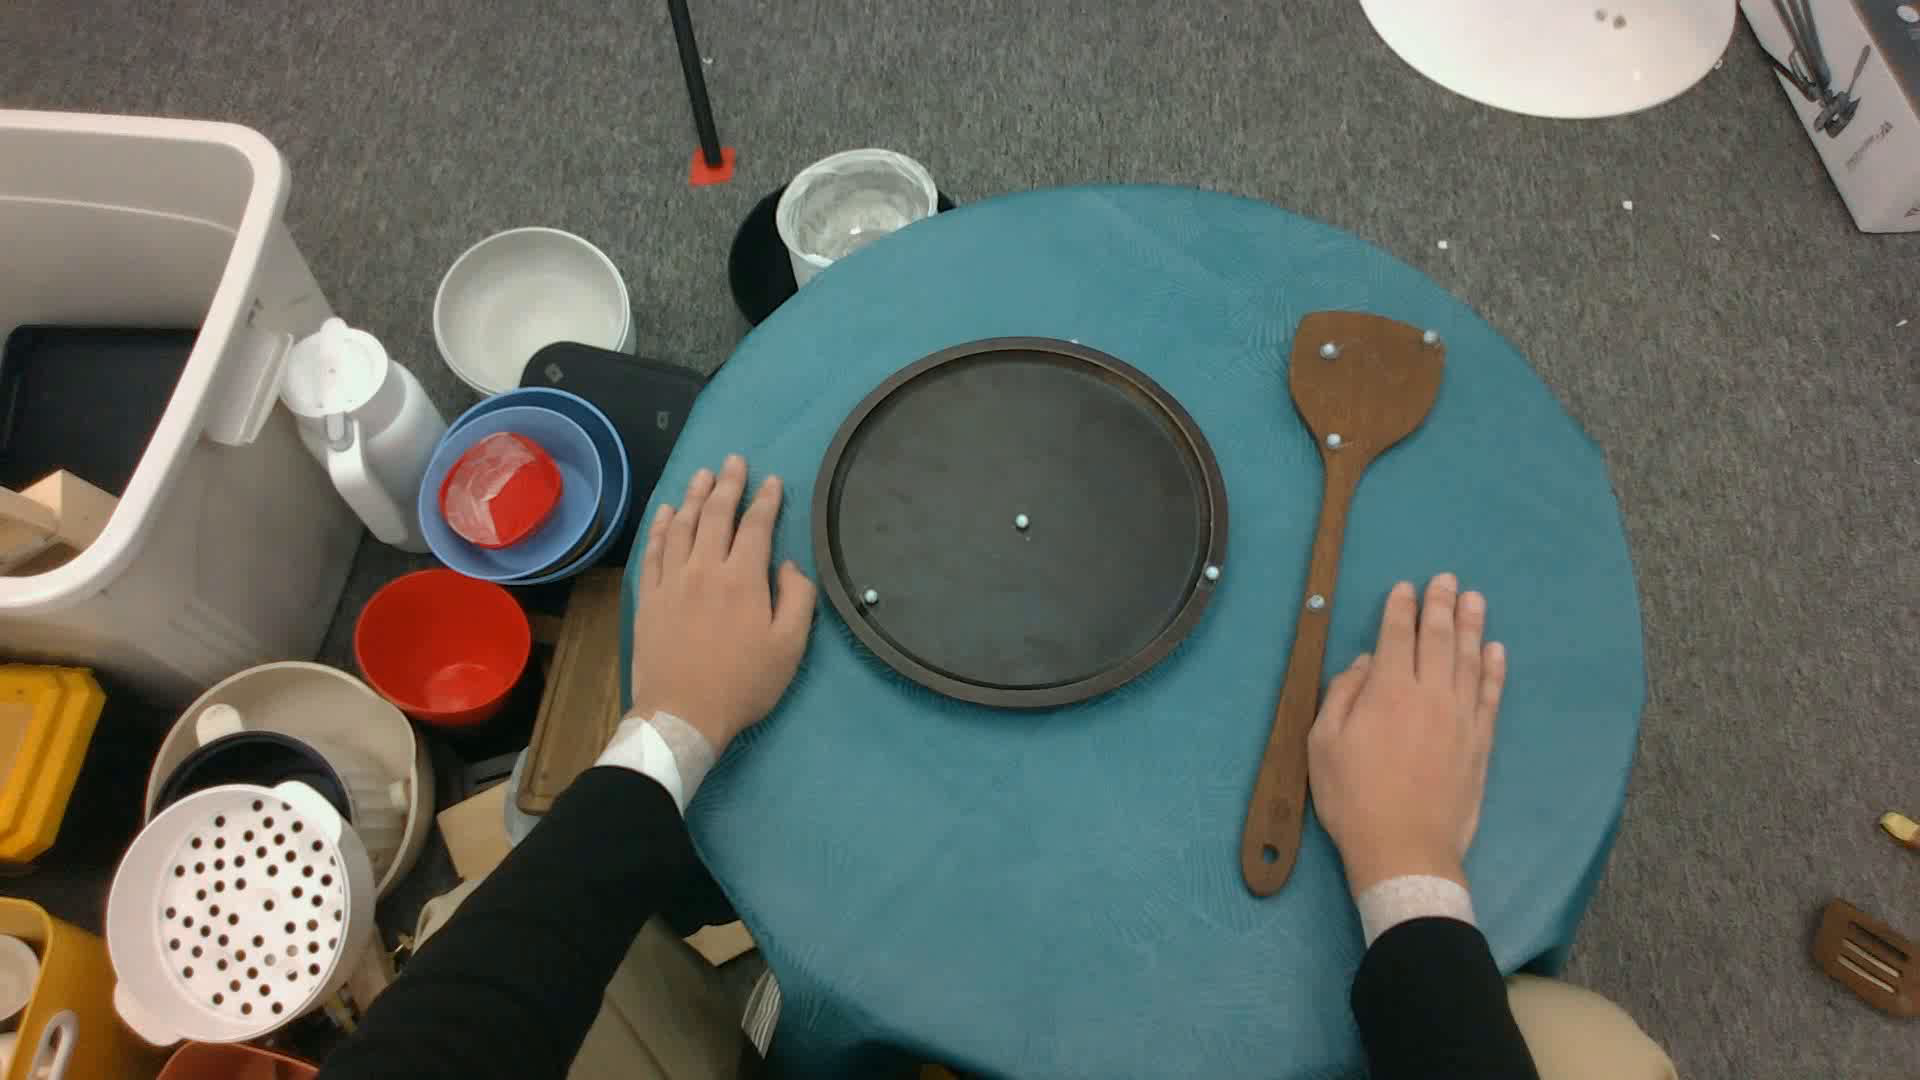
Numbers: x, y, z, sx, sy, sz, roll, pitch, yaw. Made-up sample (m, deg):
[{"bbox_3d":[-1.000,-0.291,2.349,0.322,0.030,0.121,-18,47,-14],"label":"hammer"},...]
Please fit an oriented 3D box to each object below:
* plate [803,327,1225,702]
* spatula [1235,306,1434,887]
[{"bbox_3d":[0.032,-0.021,0.834,0.255,0.029,0.255,0,64,0],"label":"plate"},{"bbox_3d":[0.211,0.017,0.817,0.096,0.016,0.387,13,64,8],"label":"spatula"}]
